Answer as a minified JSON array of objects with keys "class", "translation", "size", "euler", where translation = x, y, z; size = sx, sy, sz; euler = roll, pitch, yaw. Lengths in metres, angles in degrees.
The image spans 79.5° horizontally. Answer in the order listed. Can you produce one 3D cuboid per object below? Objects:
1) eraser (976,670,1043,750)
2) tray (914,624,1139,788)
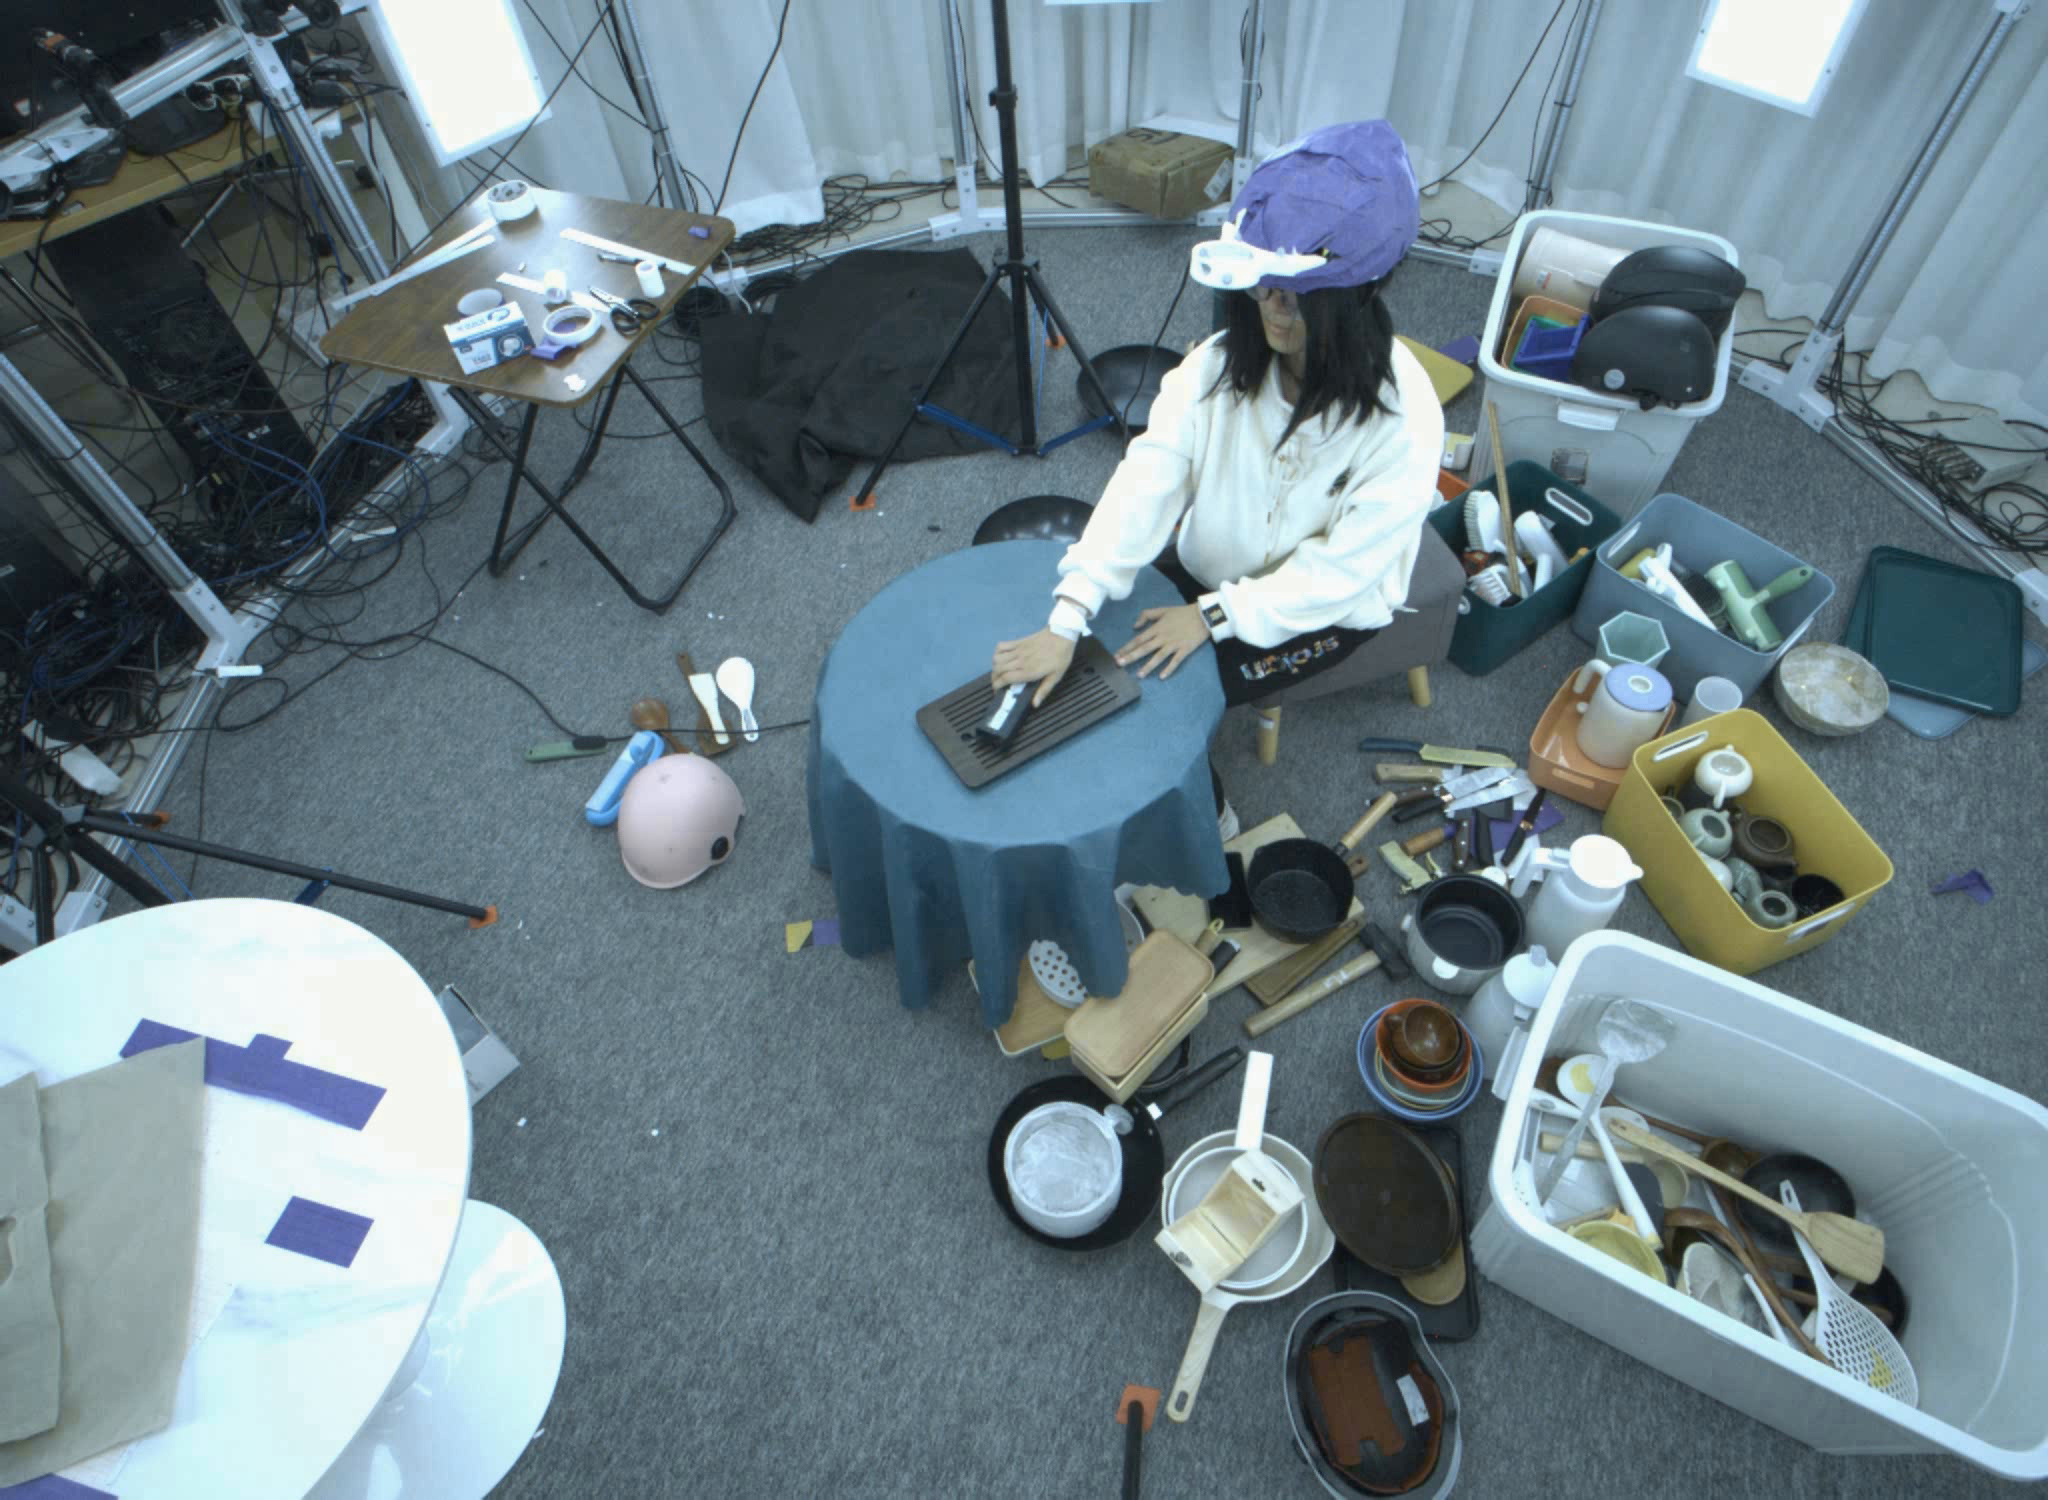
[{"class":"eraser","translation":[-0.021,-0.059,1.793],"size":[0.053,0.031,0.125],"euler":[21,57,12]},{"class":"tray","translation":[0.004,-0.068,1.825],"size":[0.308,0.019,0.167],"euler":[-30,59,-17]}]
